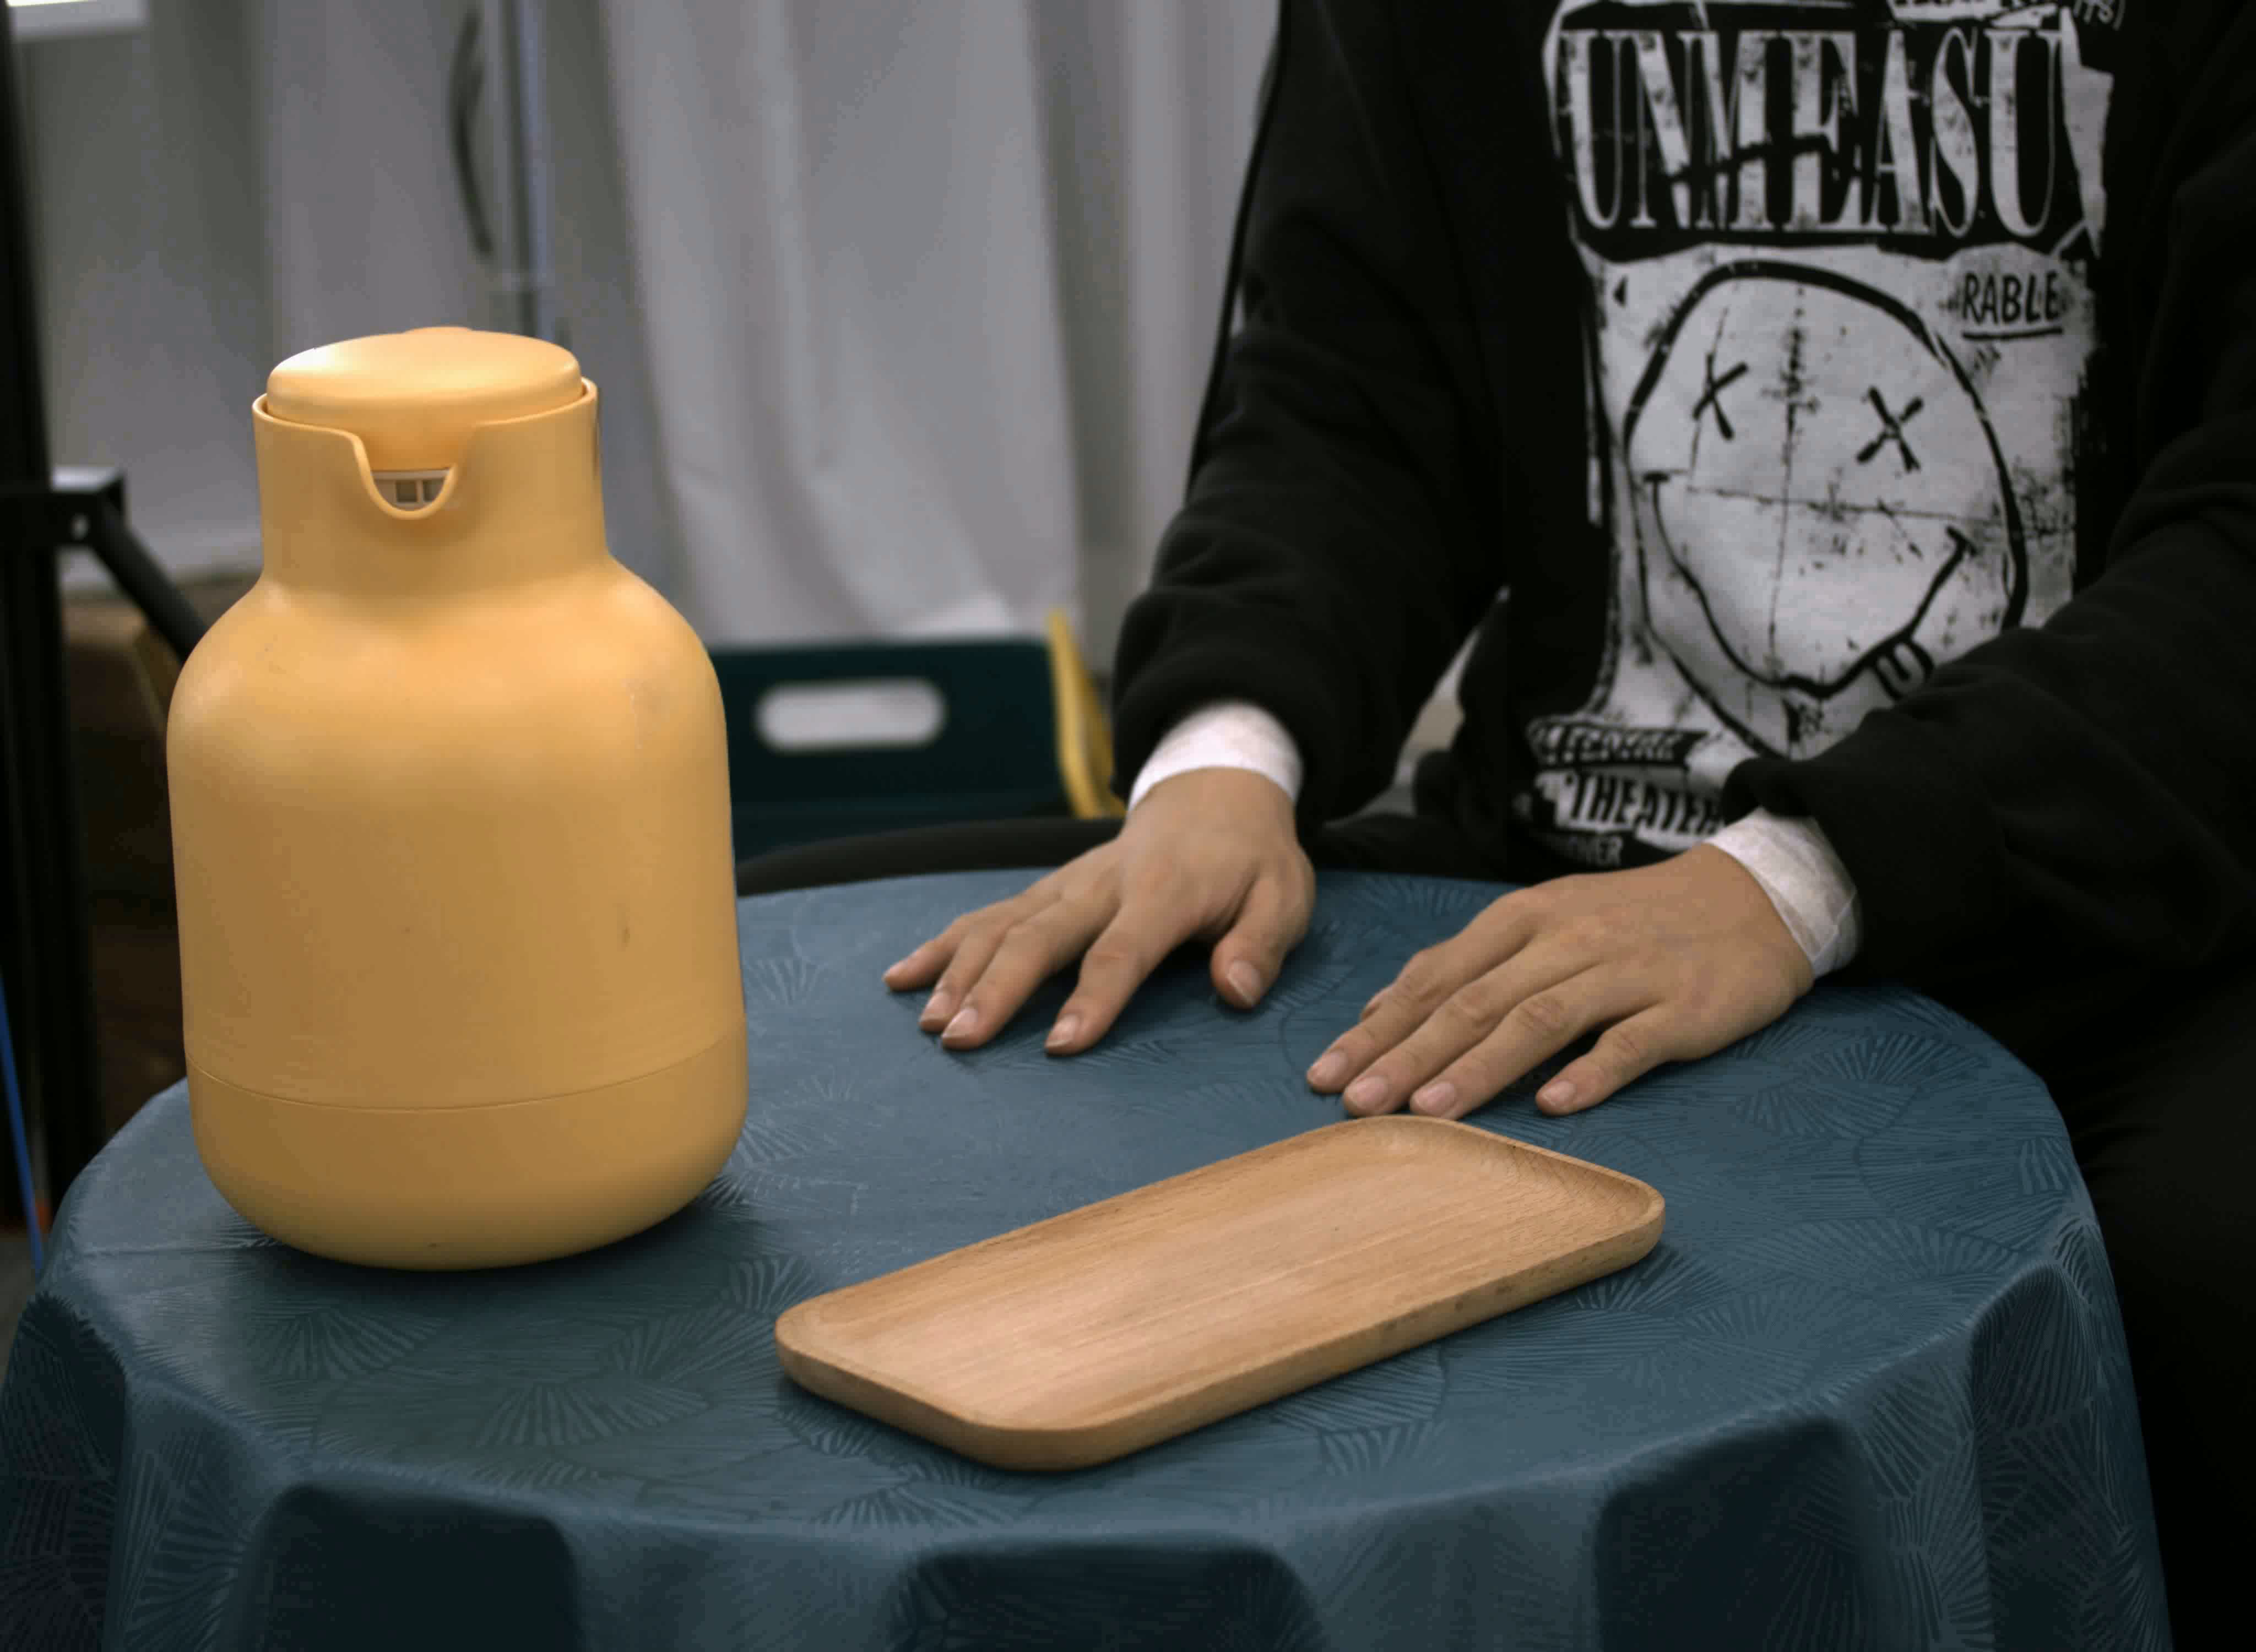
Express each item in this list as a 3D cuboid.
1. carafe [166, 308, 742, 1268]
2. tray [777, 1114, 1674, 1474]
[{"bbox_3d":[-0.194,-0.019,1.557,0.163,0.260,0.203,0,17,0],"label":"carafe"},{"bbox_3d":[0.030,0.126,1.455,0.245,0.023,0.133,-14,22,-37],"label":"tray"}]
